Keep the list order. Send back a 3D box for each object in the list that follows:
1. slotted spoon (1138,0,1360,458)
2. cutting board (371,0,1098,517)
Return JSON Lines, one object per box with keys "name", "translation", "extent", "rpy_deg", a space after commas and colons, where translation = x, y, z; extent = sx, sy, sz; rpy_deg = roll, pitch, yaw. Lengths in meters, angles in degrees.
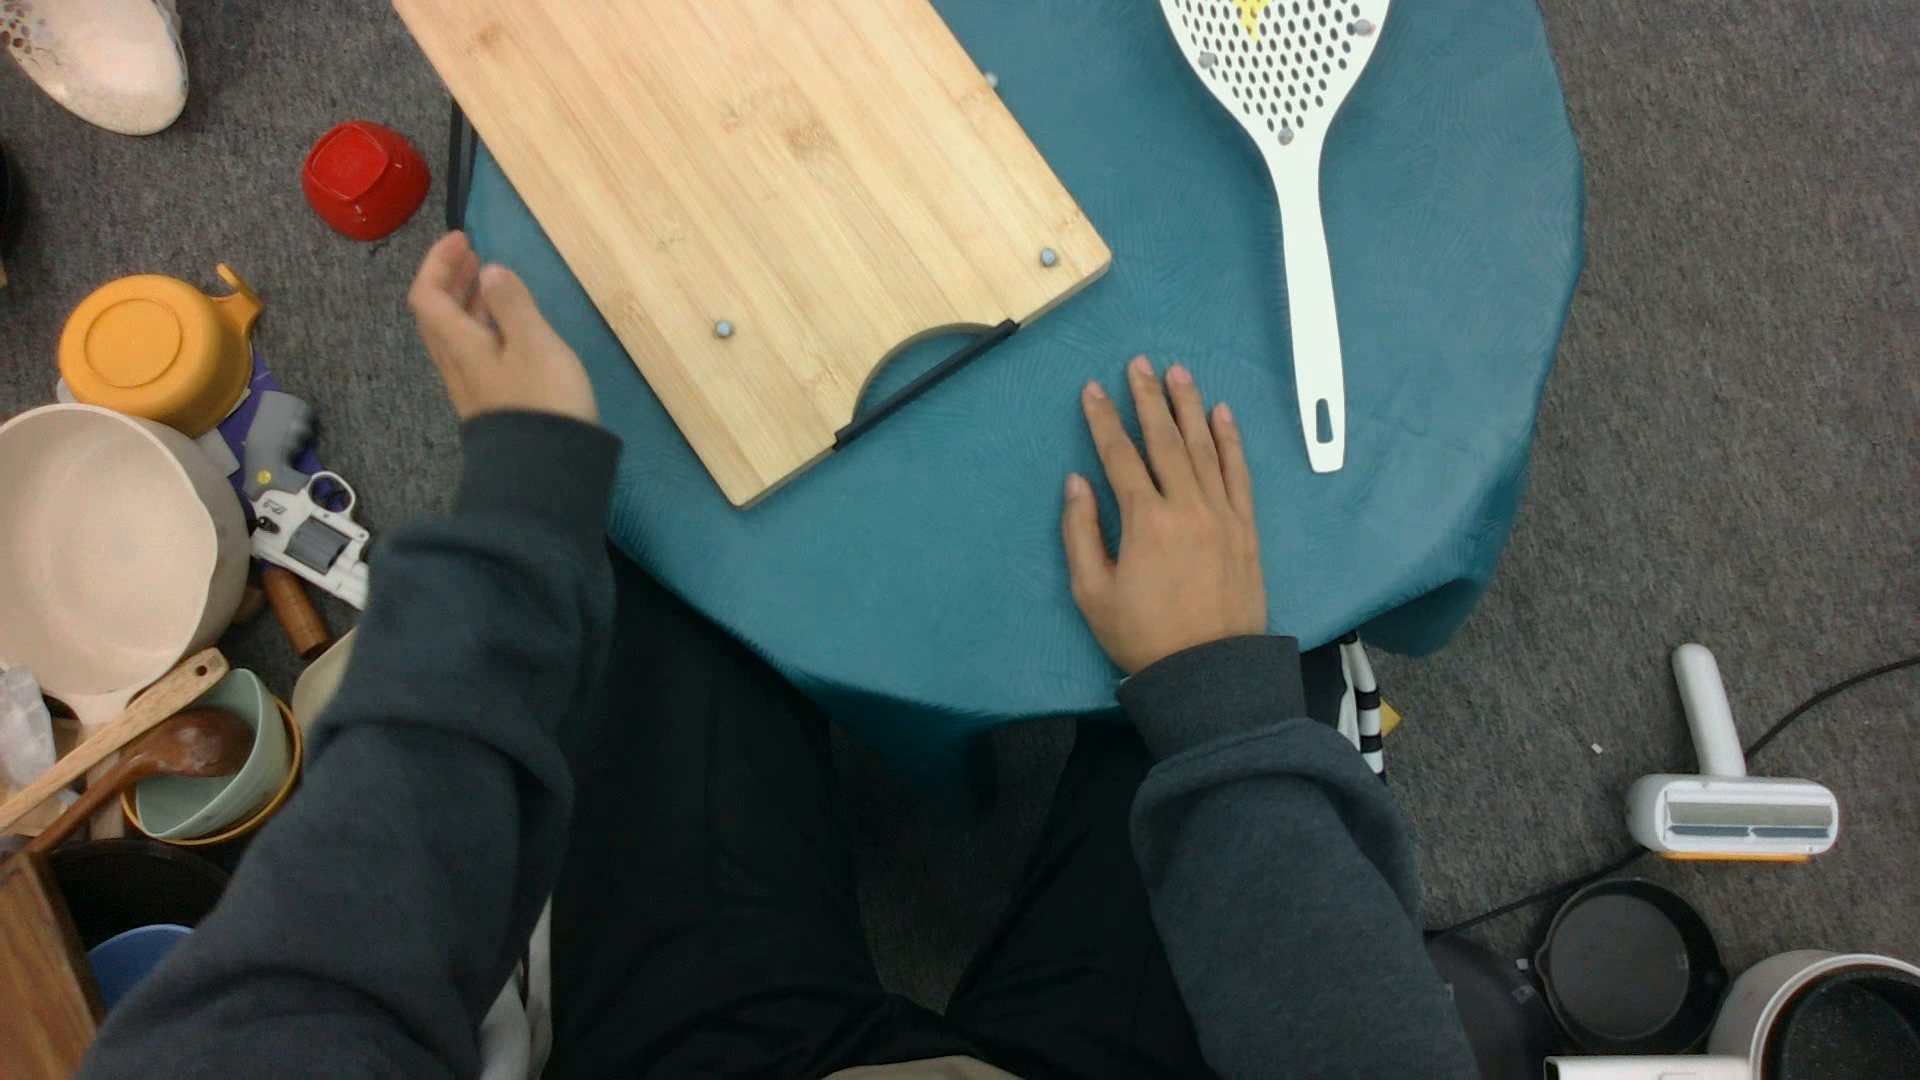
{"name": "slotted spoon", "translation": [0.164, -0.217, 0.735], "extent": [0.137, 0.050, 0.348], "rpy_deg": [-6, 80, -5]}
{"name": "cutting board", "translation": [-0.122, -0.221, 0.741], "extent": [0.251, 0.023, 0.349], "rpy_deg": [-36, 83, -7]}
